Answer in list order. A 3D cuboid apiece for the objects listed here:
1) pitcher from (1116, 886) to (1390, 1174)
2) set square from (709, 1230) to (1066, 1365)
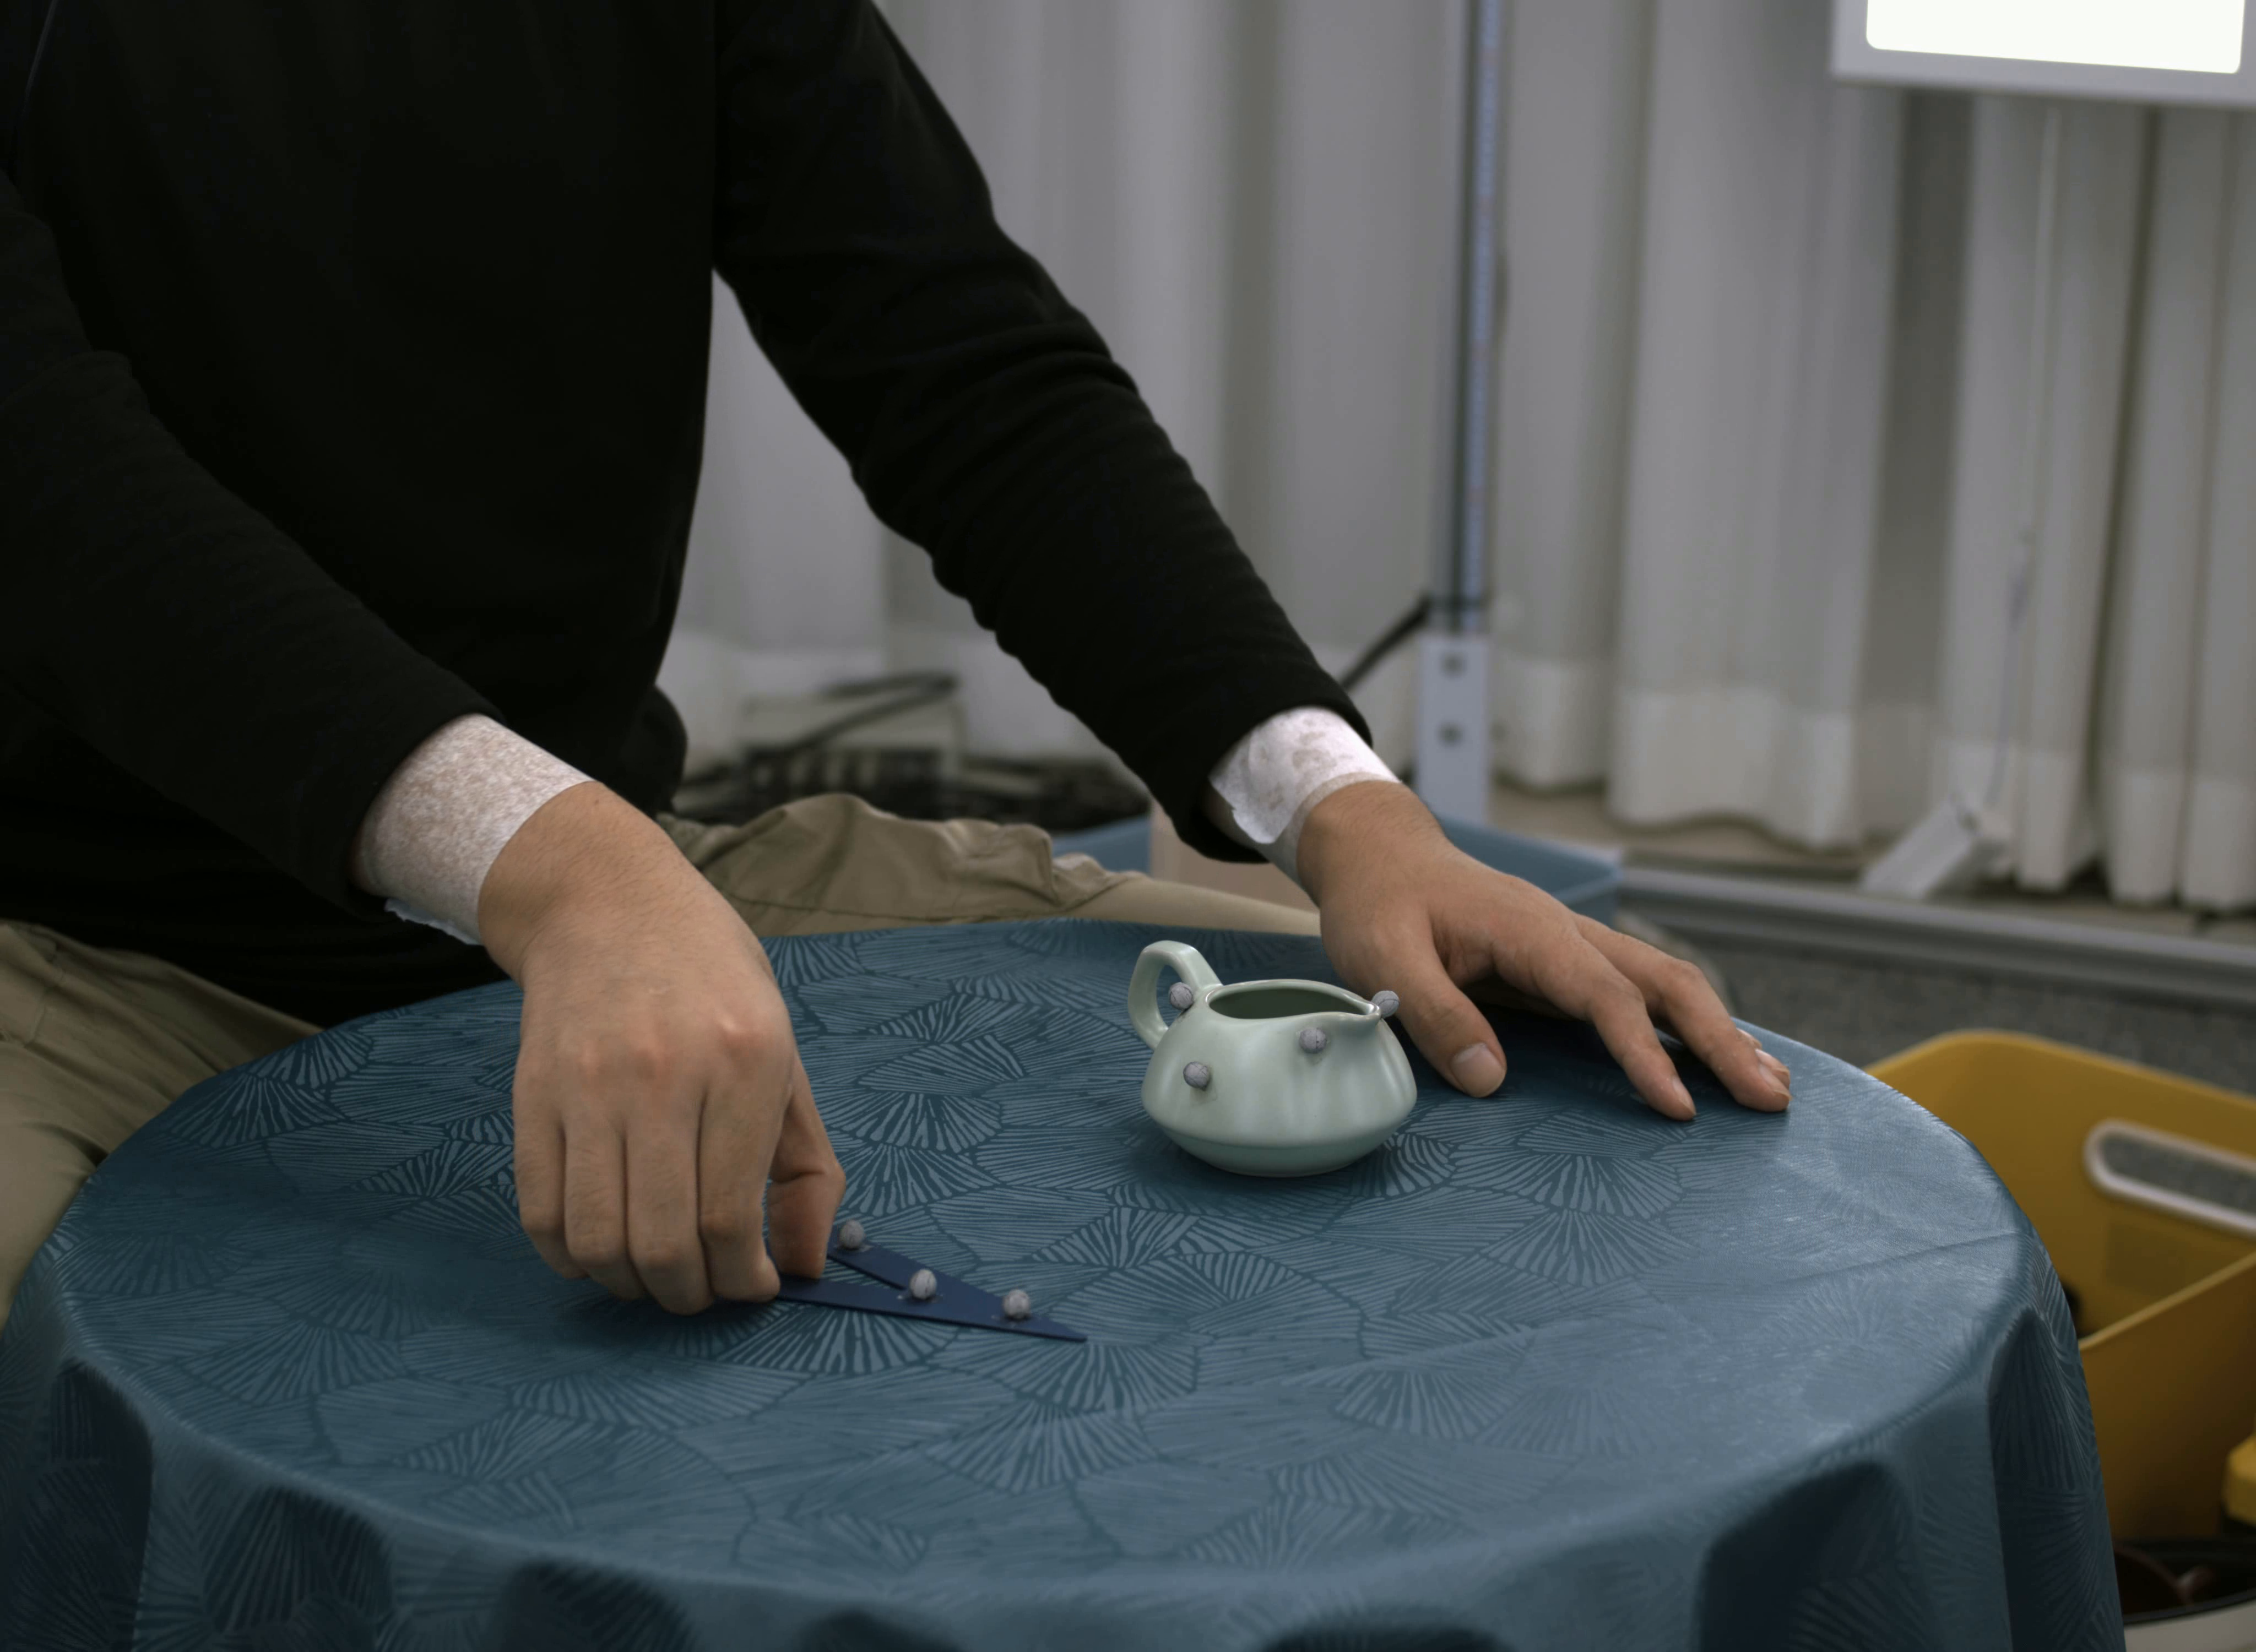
[{"bbox_3d":[0.034,0.065,1.663,0.086,0.061,0.106,-17,39,-23],"label":"pitcher"},{"bbox_3d":[-0.076,0.138,1.517,0.061,0.006,0.130,-8,18,-37],"label":"set square"}]
